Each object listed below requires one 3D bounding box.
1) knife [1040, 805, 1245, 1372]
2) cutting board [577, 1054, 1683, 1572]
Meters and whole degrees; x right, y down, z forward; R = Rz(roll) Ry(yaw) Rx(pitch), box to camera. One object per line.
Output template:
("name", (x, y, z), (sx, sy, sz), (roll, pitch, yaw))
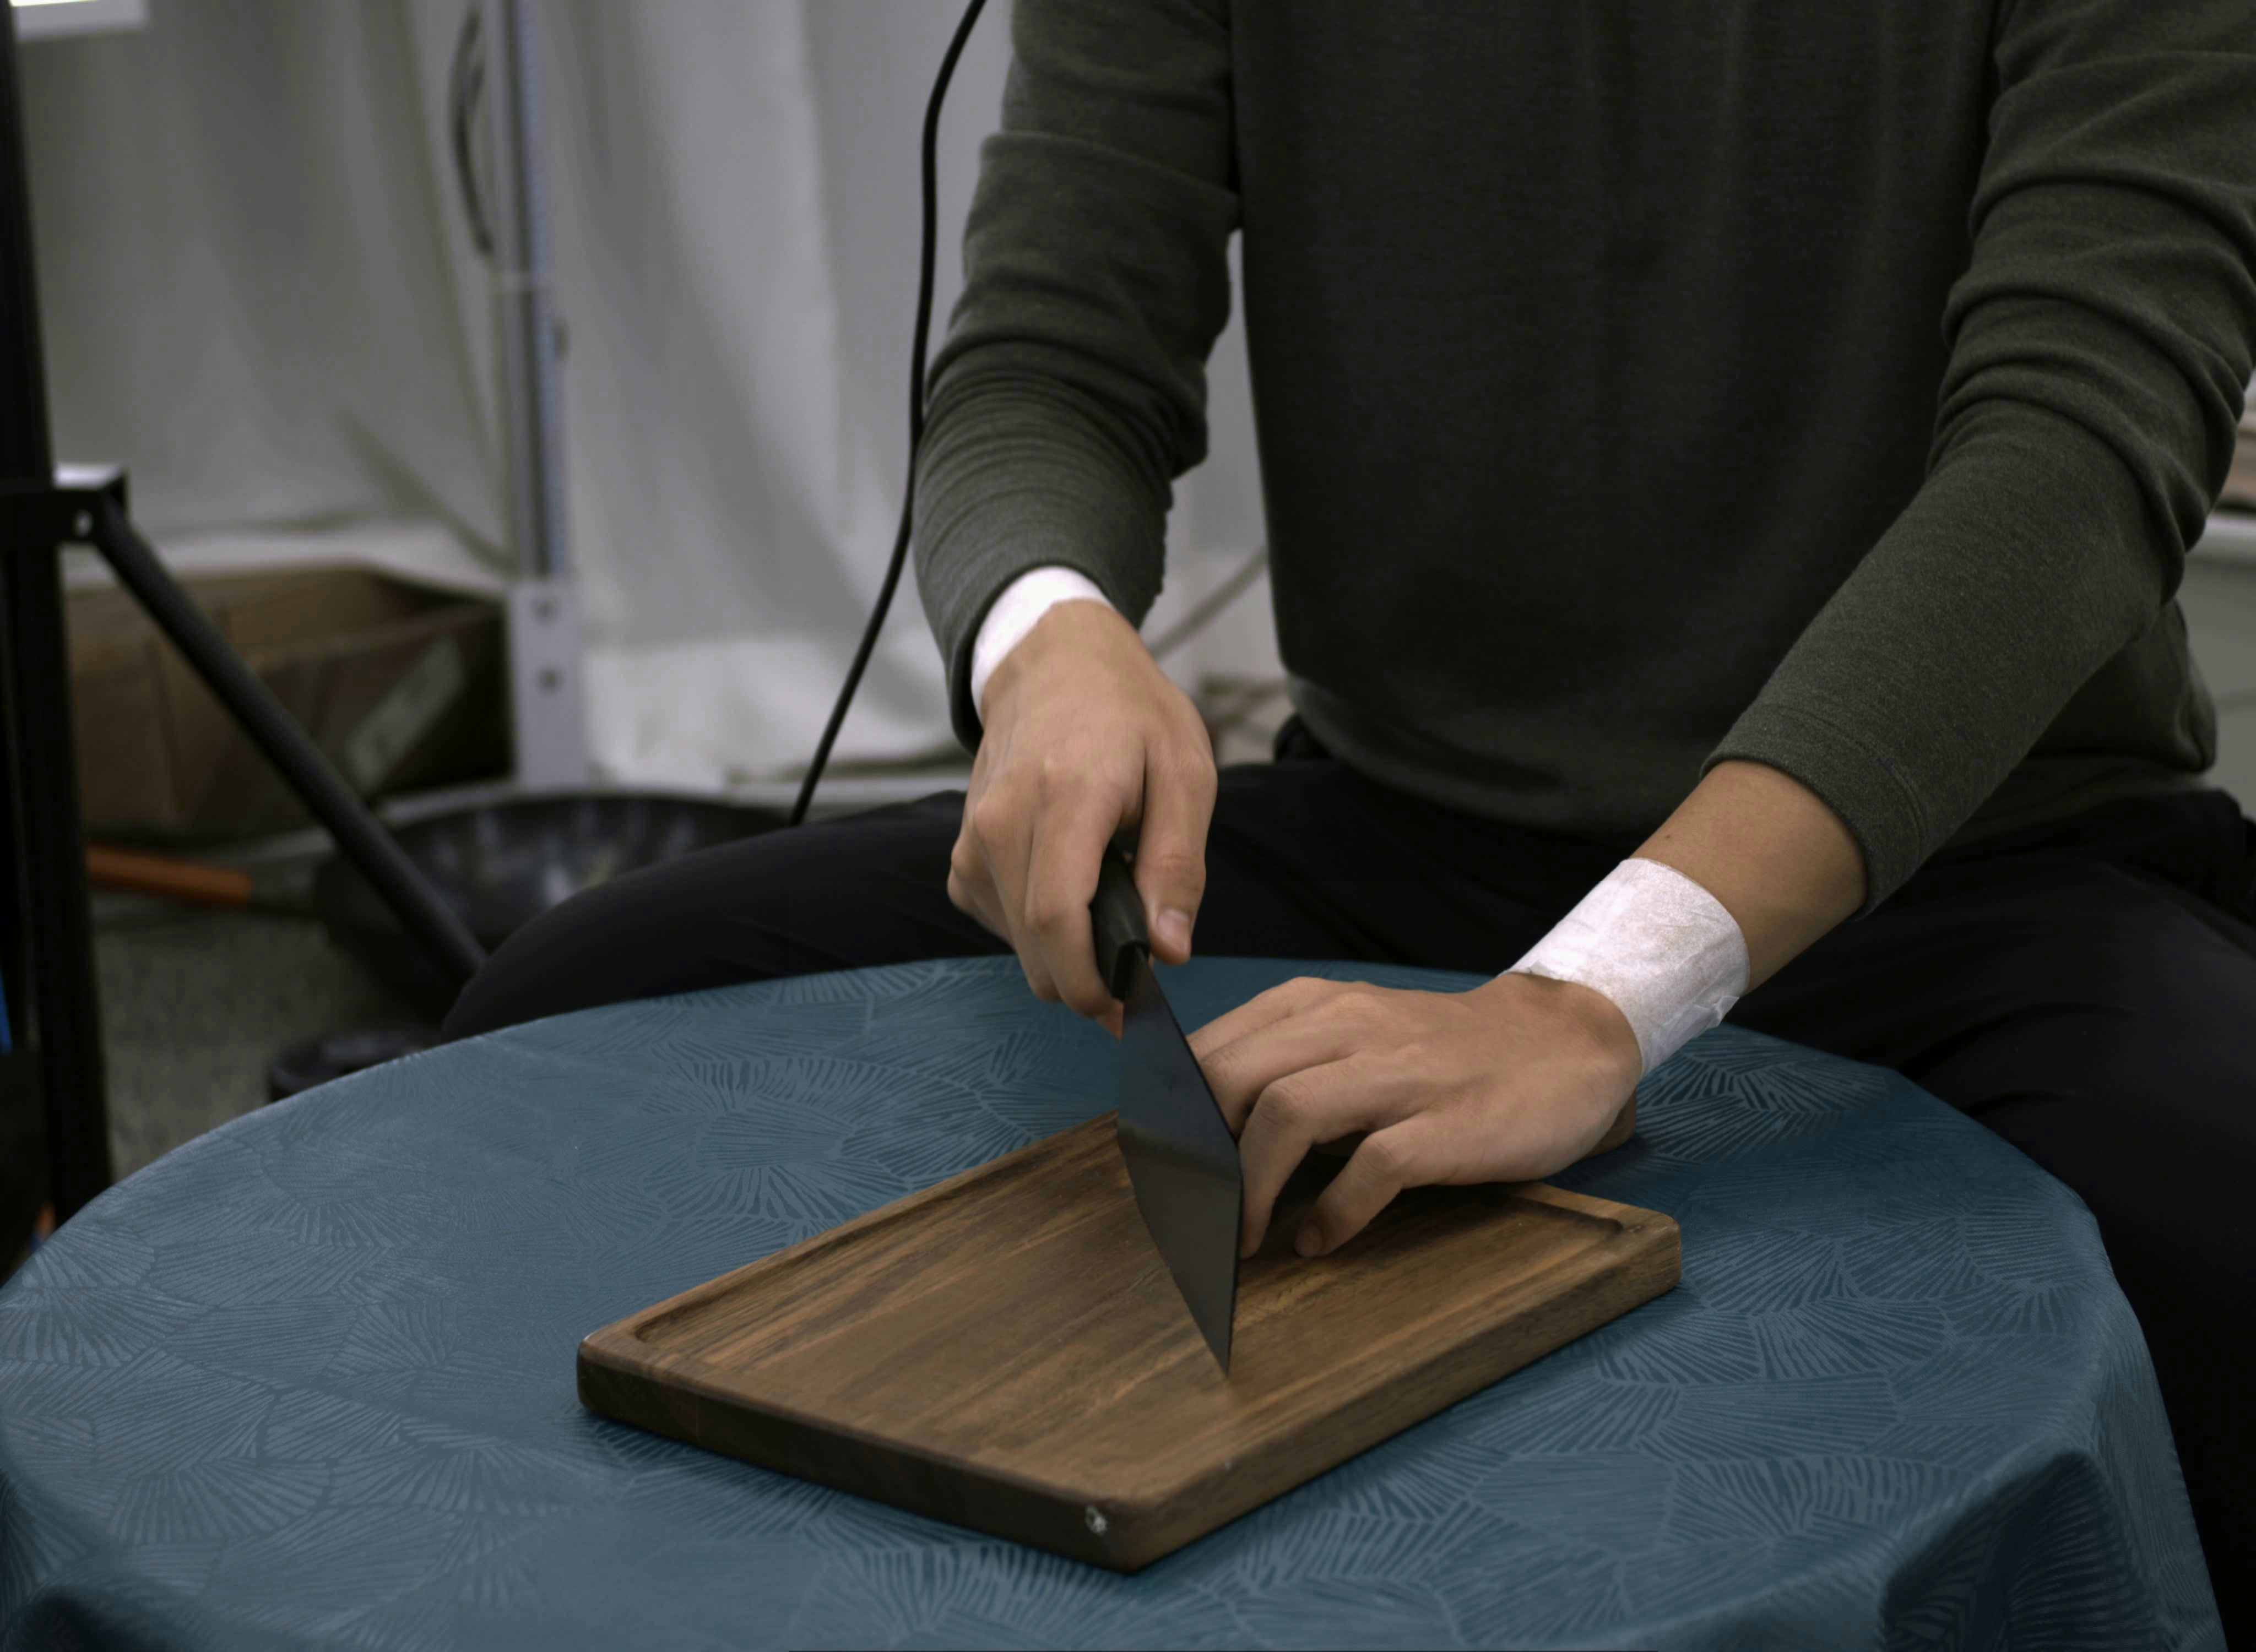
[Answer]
("knife", (0.005, 0.065, 1.501), (0.020, 0.081, 0.306), (2, 22, -10))
("cutting board", (0.035, 0.120, 1.475), (0.205, 0.023, 0.344), (11, 21, 38))
